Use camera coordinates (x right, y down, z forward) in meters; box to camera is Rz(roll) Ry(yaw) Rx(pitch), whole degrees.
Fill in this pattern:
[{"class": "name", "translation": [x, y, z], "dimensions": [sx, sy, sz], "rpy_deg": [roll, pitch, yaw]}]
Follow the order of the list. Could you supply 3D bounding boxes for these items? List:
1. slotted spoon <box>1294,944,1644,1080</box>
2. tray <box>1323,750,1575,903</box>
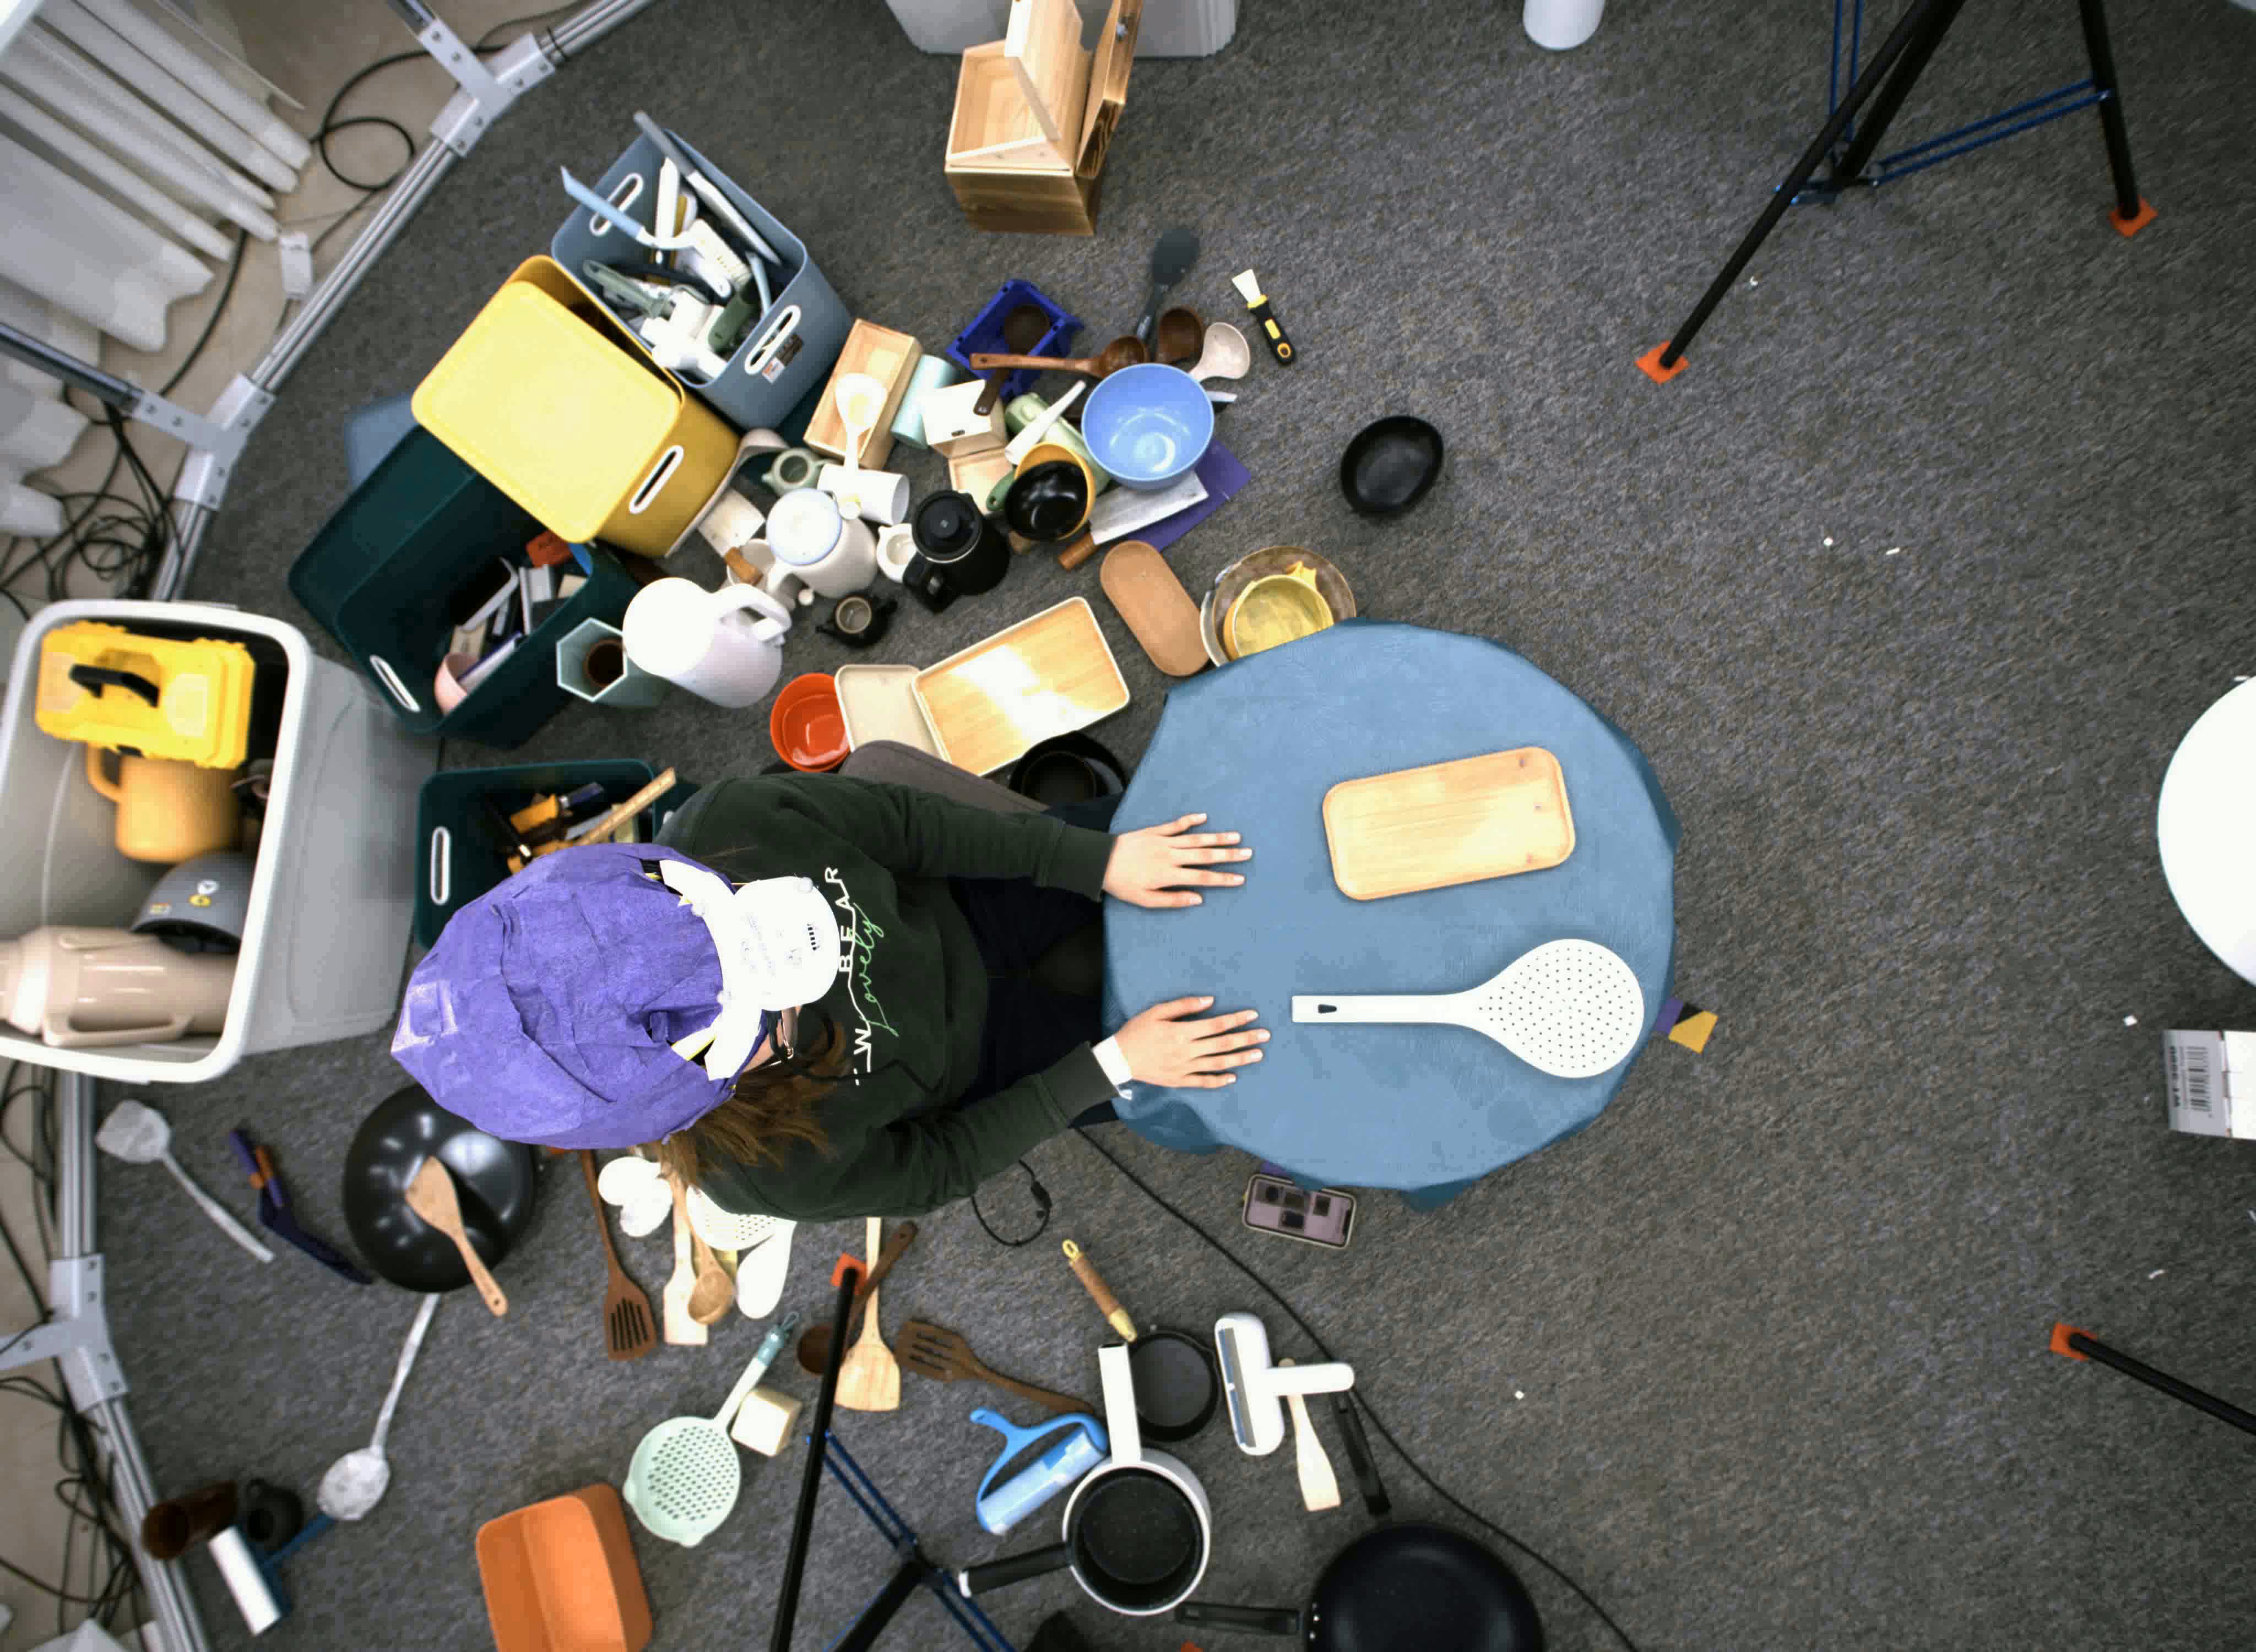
[{"class": "slotted spoon", "translation": [0.346, 0.188, 1.420], "dimensions": [0.351, 0.046, 0.135], "rpy_deg": [-1, 83, 11]}, {"class": "tray", "translation": [0.336, 0.000, 1.449], "dimensions": [0.252, 0.023, 0.129], "rpy_deg": [-11, 82, 10]}]
